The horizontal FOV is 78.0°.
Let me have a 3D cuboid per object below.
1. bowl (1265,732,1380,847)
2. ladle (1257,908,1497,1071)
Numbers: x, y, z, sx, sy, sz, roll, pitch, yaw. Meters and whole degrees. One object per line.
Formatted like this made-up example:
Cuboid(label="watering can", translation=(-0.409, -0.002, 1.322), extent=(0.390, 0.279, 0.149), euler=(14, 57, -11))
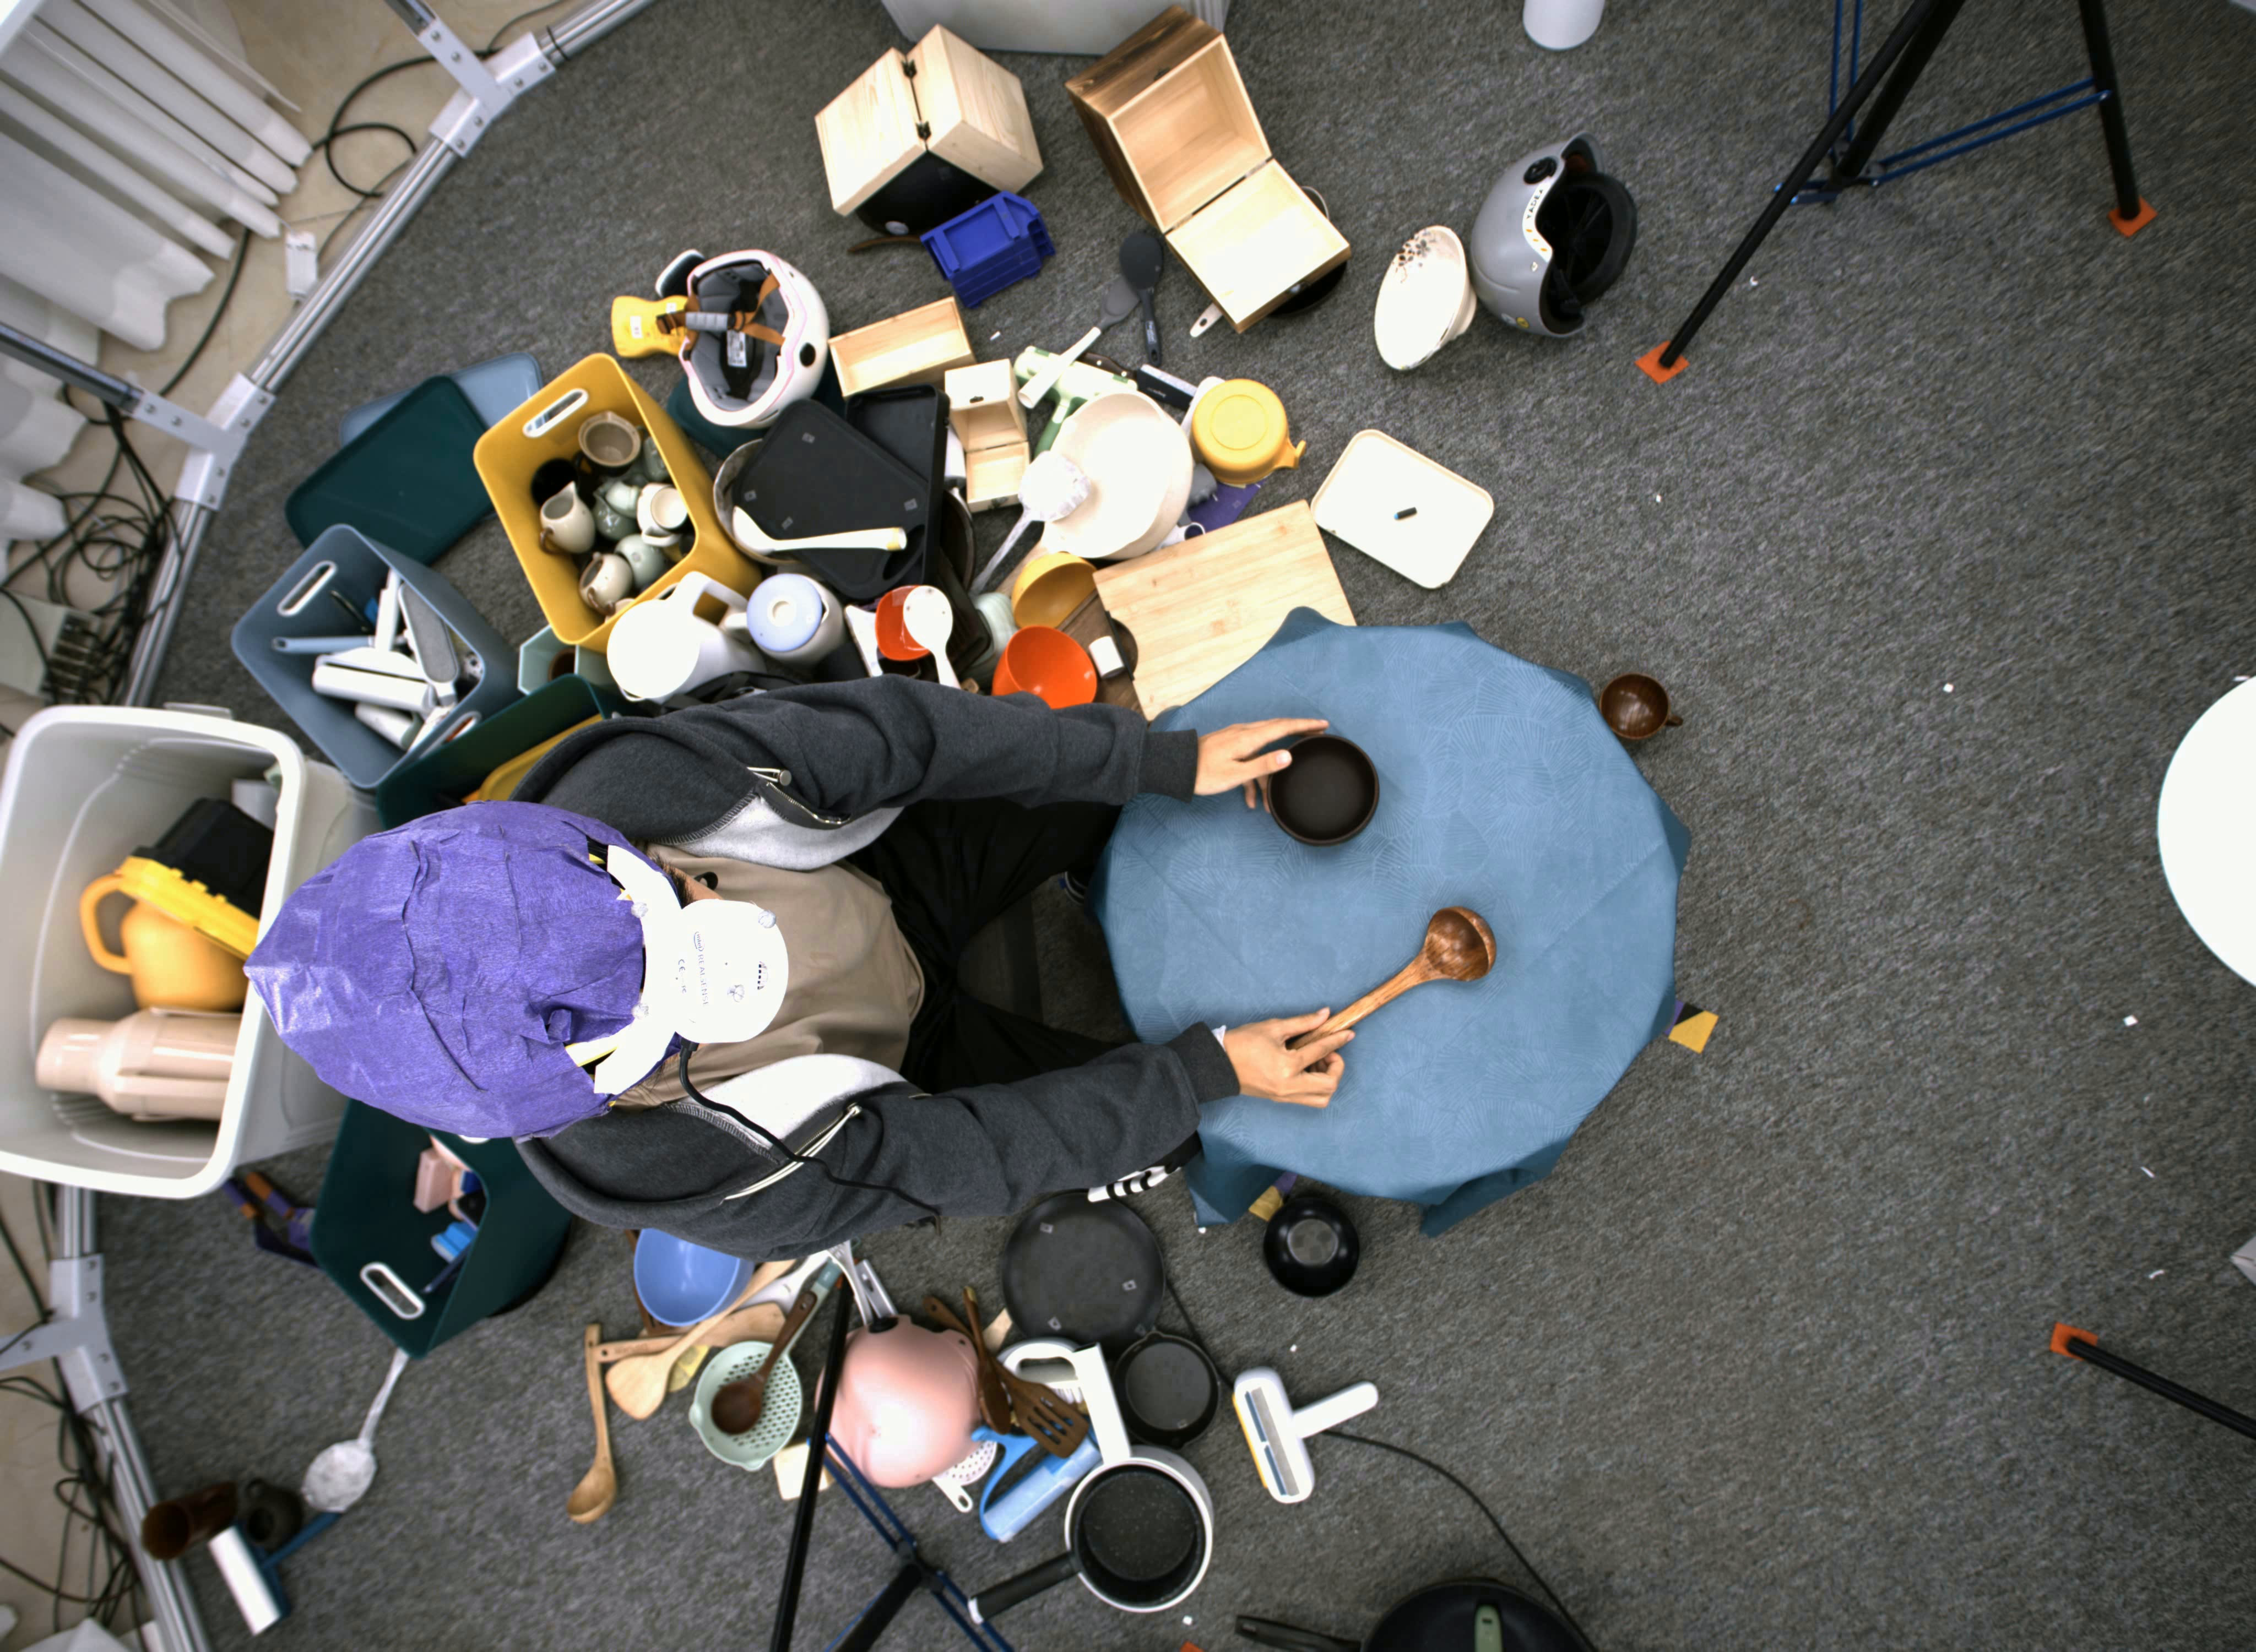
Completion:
Cuboid(label="bowl", translation=(0.203, -0.037, 1.440), extent=(0.118, 0.070, 0.117), euler=(-1, 86, 10))
Cuboid(label="ladle", translation=(0.251, 0.176, 1.417), extent=(0.275, 0.077, 0.081), euler=(-32, 75, 7))
